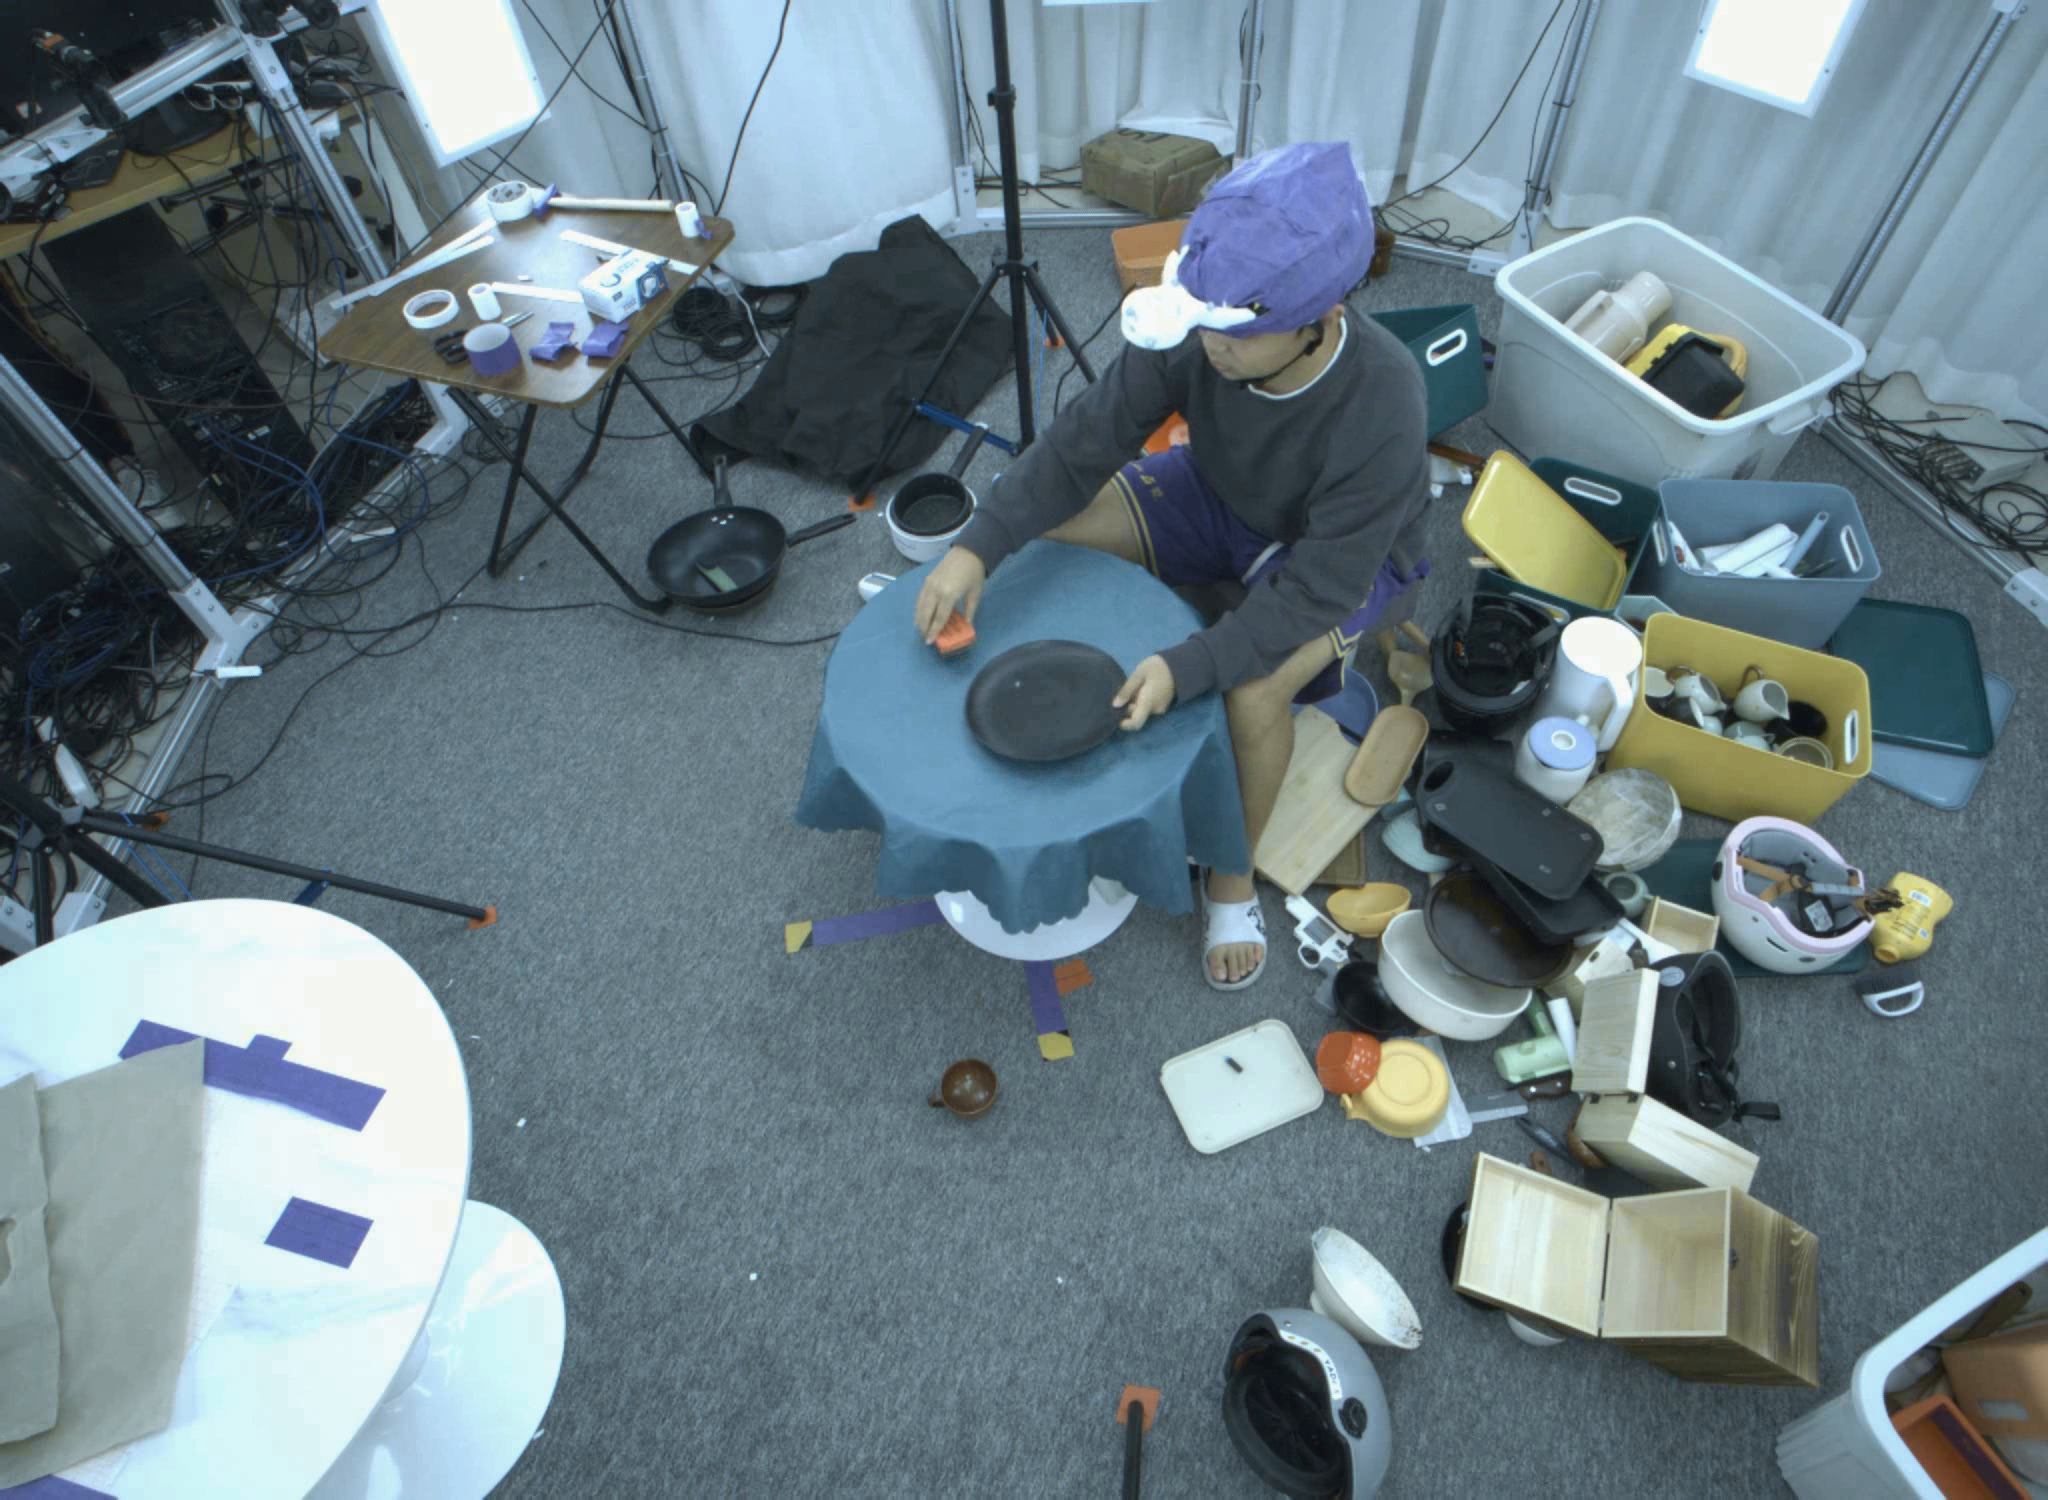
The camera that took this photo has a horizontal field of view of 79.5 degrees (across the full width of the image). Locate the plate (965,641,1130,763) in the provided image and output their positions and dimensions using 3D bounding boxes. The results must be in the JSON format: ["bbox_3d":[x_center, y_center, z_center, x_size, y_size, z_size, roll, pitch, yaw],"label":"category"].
[{"bbox_3d":[0.035,-0.069,1.813,0.243,0.024,0.242,-3,50,5],"label":"plate"}]

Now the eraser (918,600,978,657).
[{"bbox_3d":[-0.118,-0.188,1.888,0.059,0.023,0.106,-25,49,-14],"label":"eraser"}]
